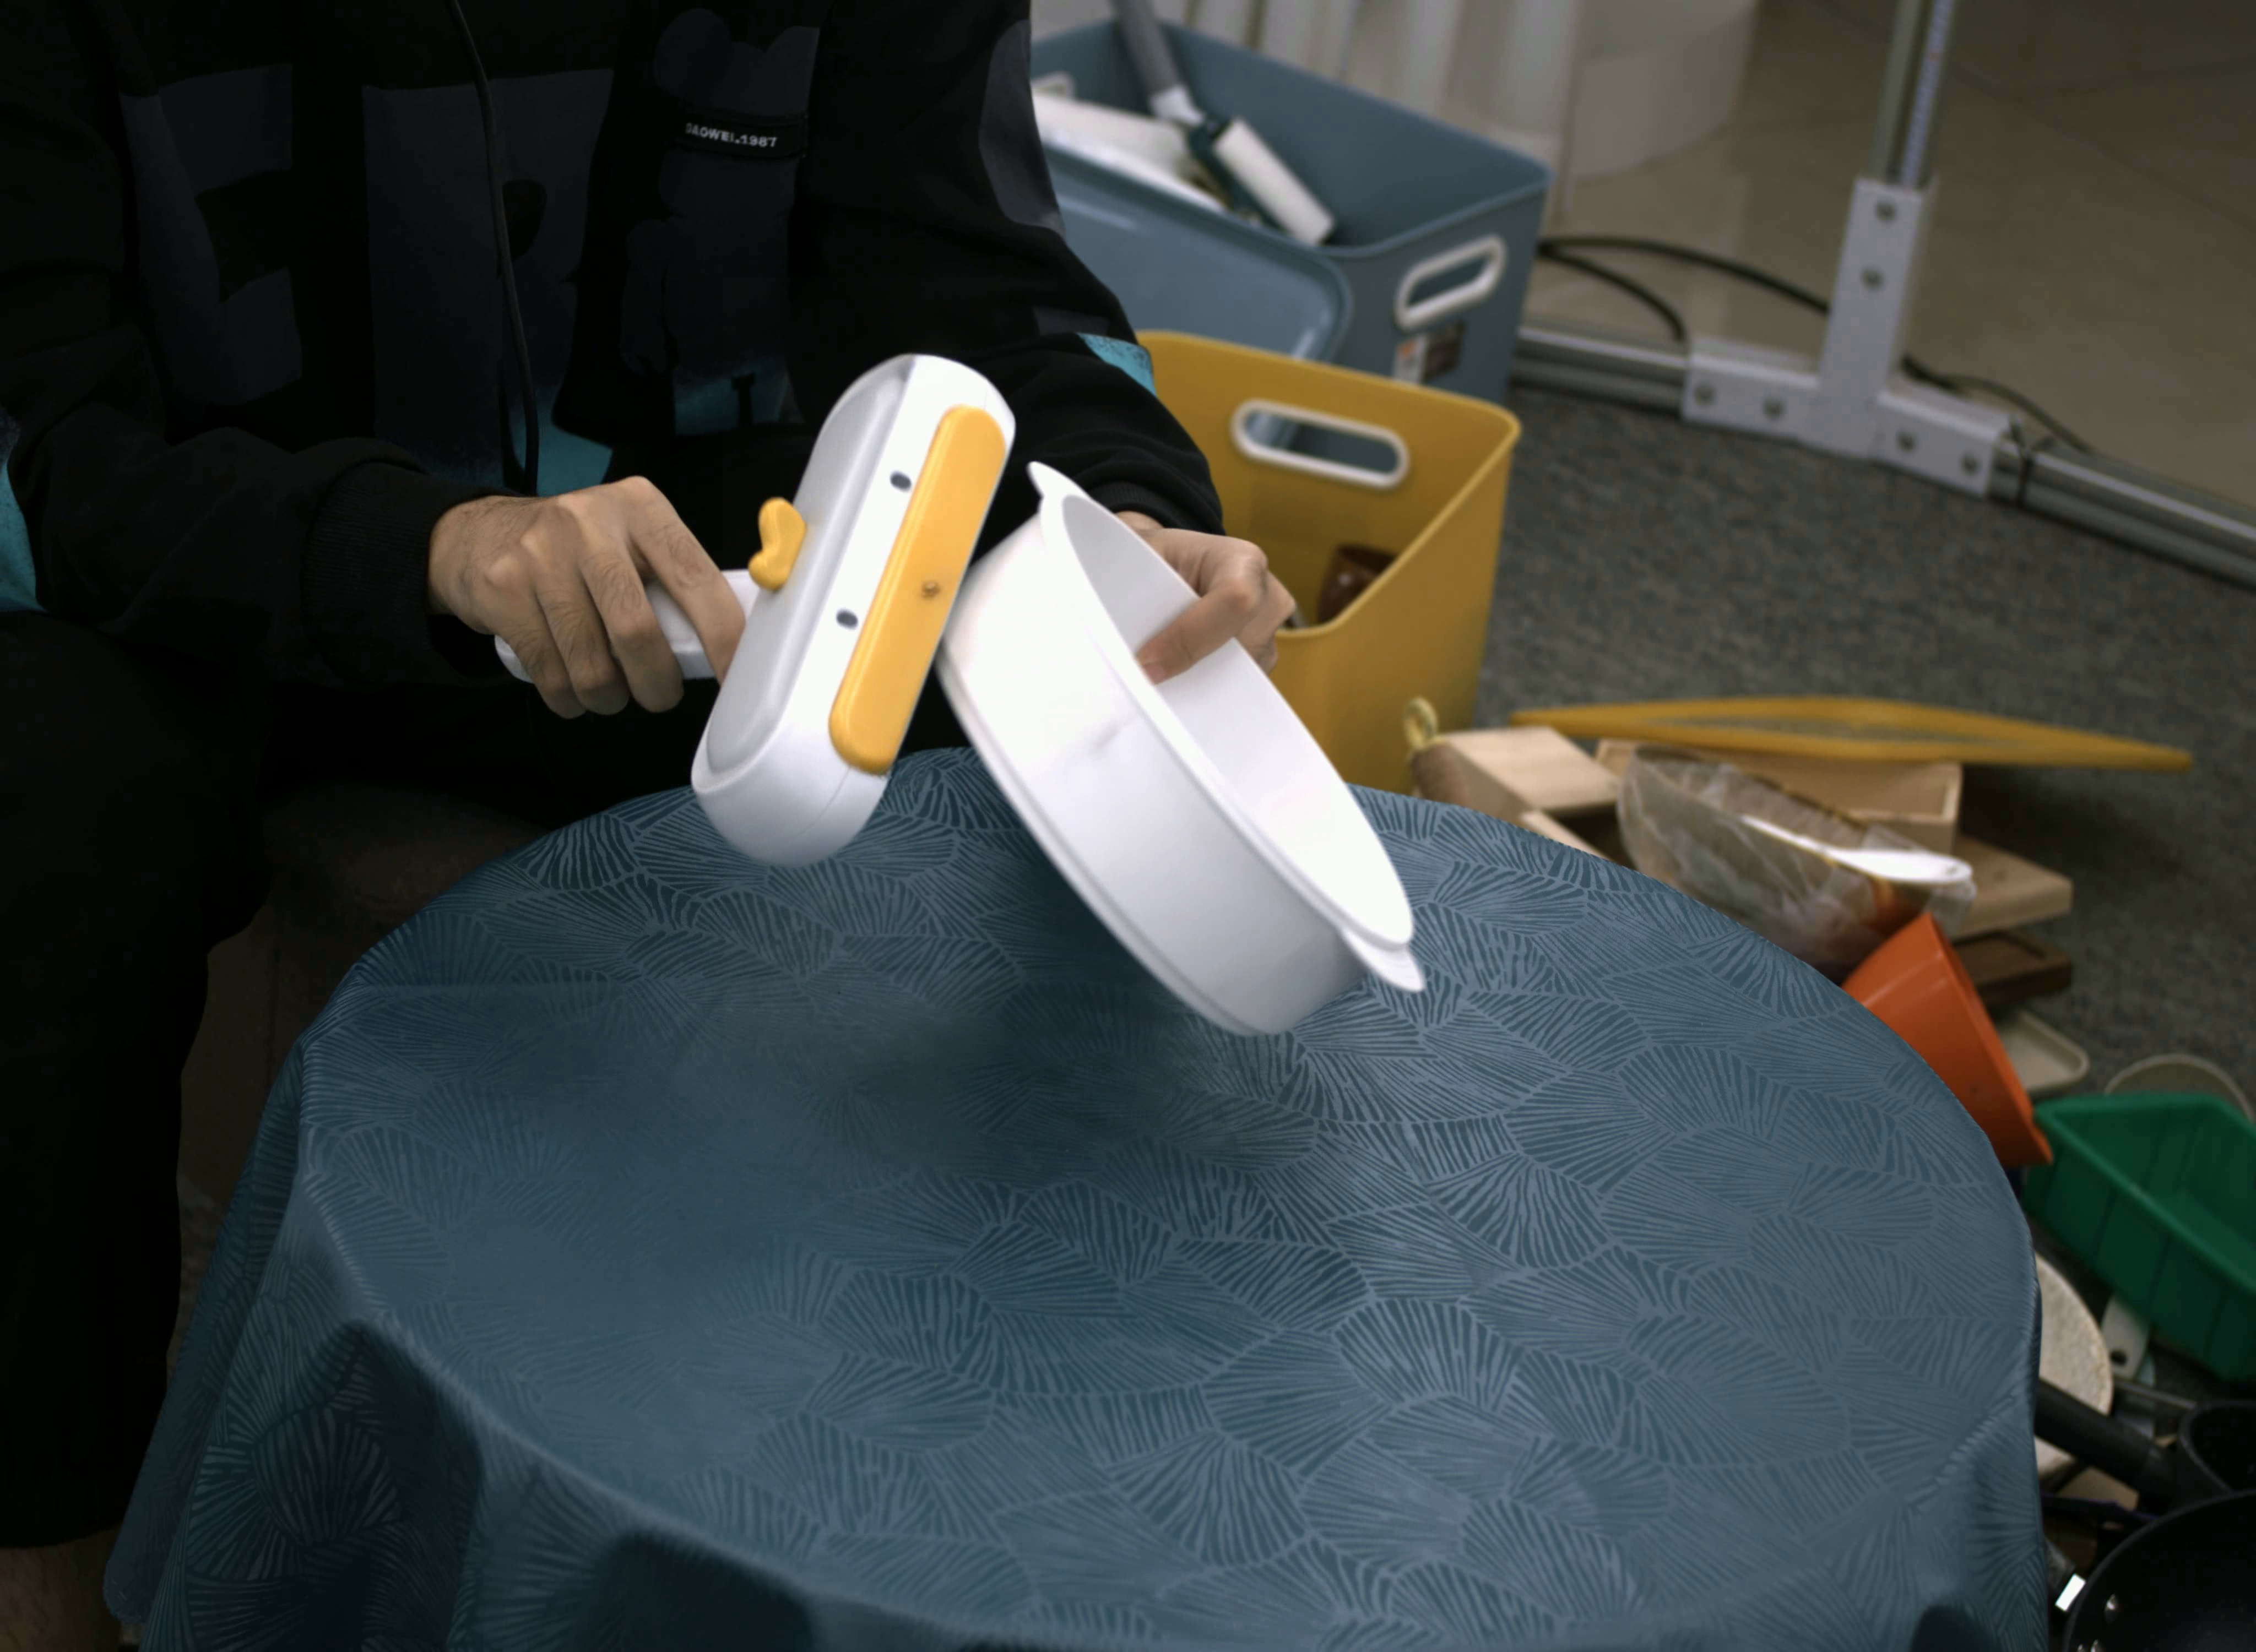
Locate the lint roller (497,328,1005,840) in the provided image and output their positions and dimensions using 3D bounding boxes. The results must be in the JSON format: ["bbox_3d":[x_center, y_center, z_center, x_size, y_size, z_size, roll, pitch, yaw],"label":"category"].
[{"bbox_3d":[-0.137,-0.073,1.831,0.073,0.193,0.194,34,53,-33],"label":"lint roller"}]

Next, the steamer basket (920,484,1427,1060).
[{"bbox_3d":[0.010,-0.012,1.826,0.232,0.069,0.200,53,10,19],"label":"steamer basket"}]
